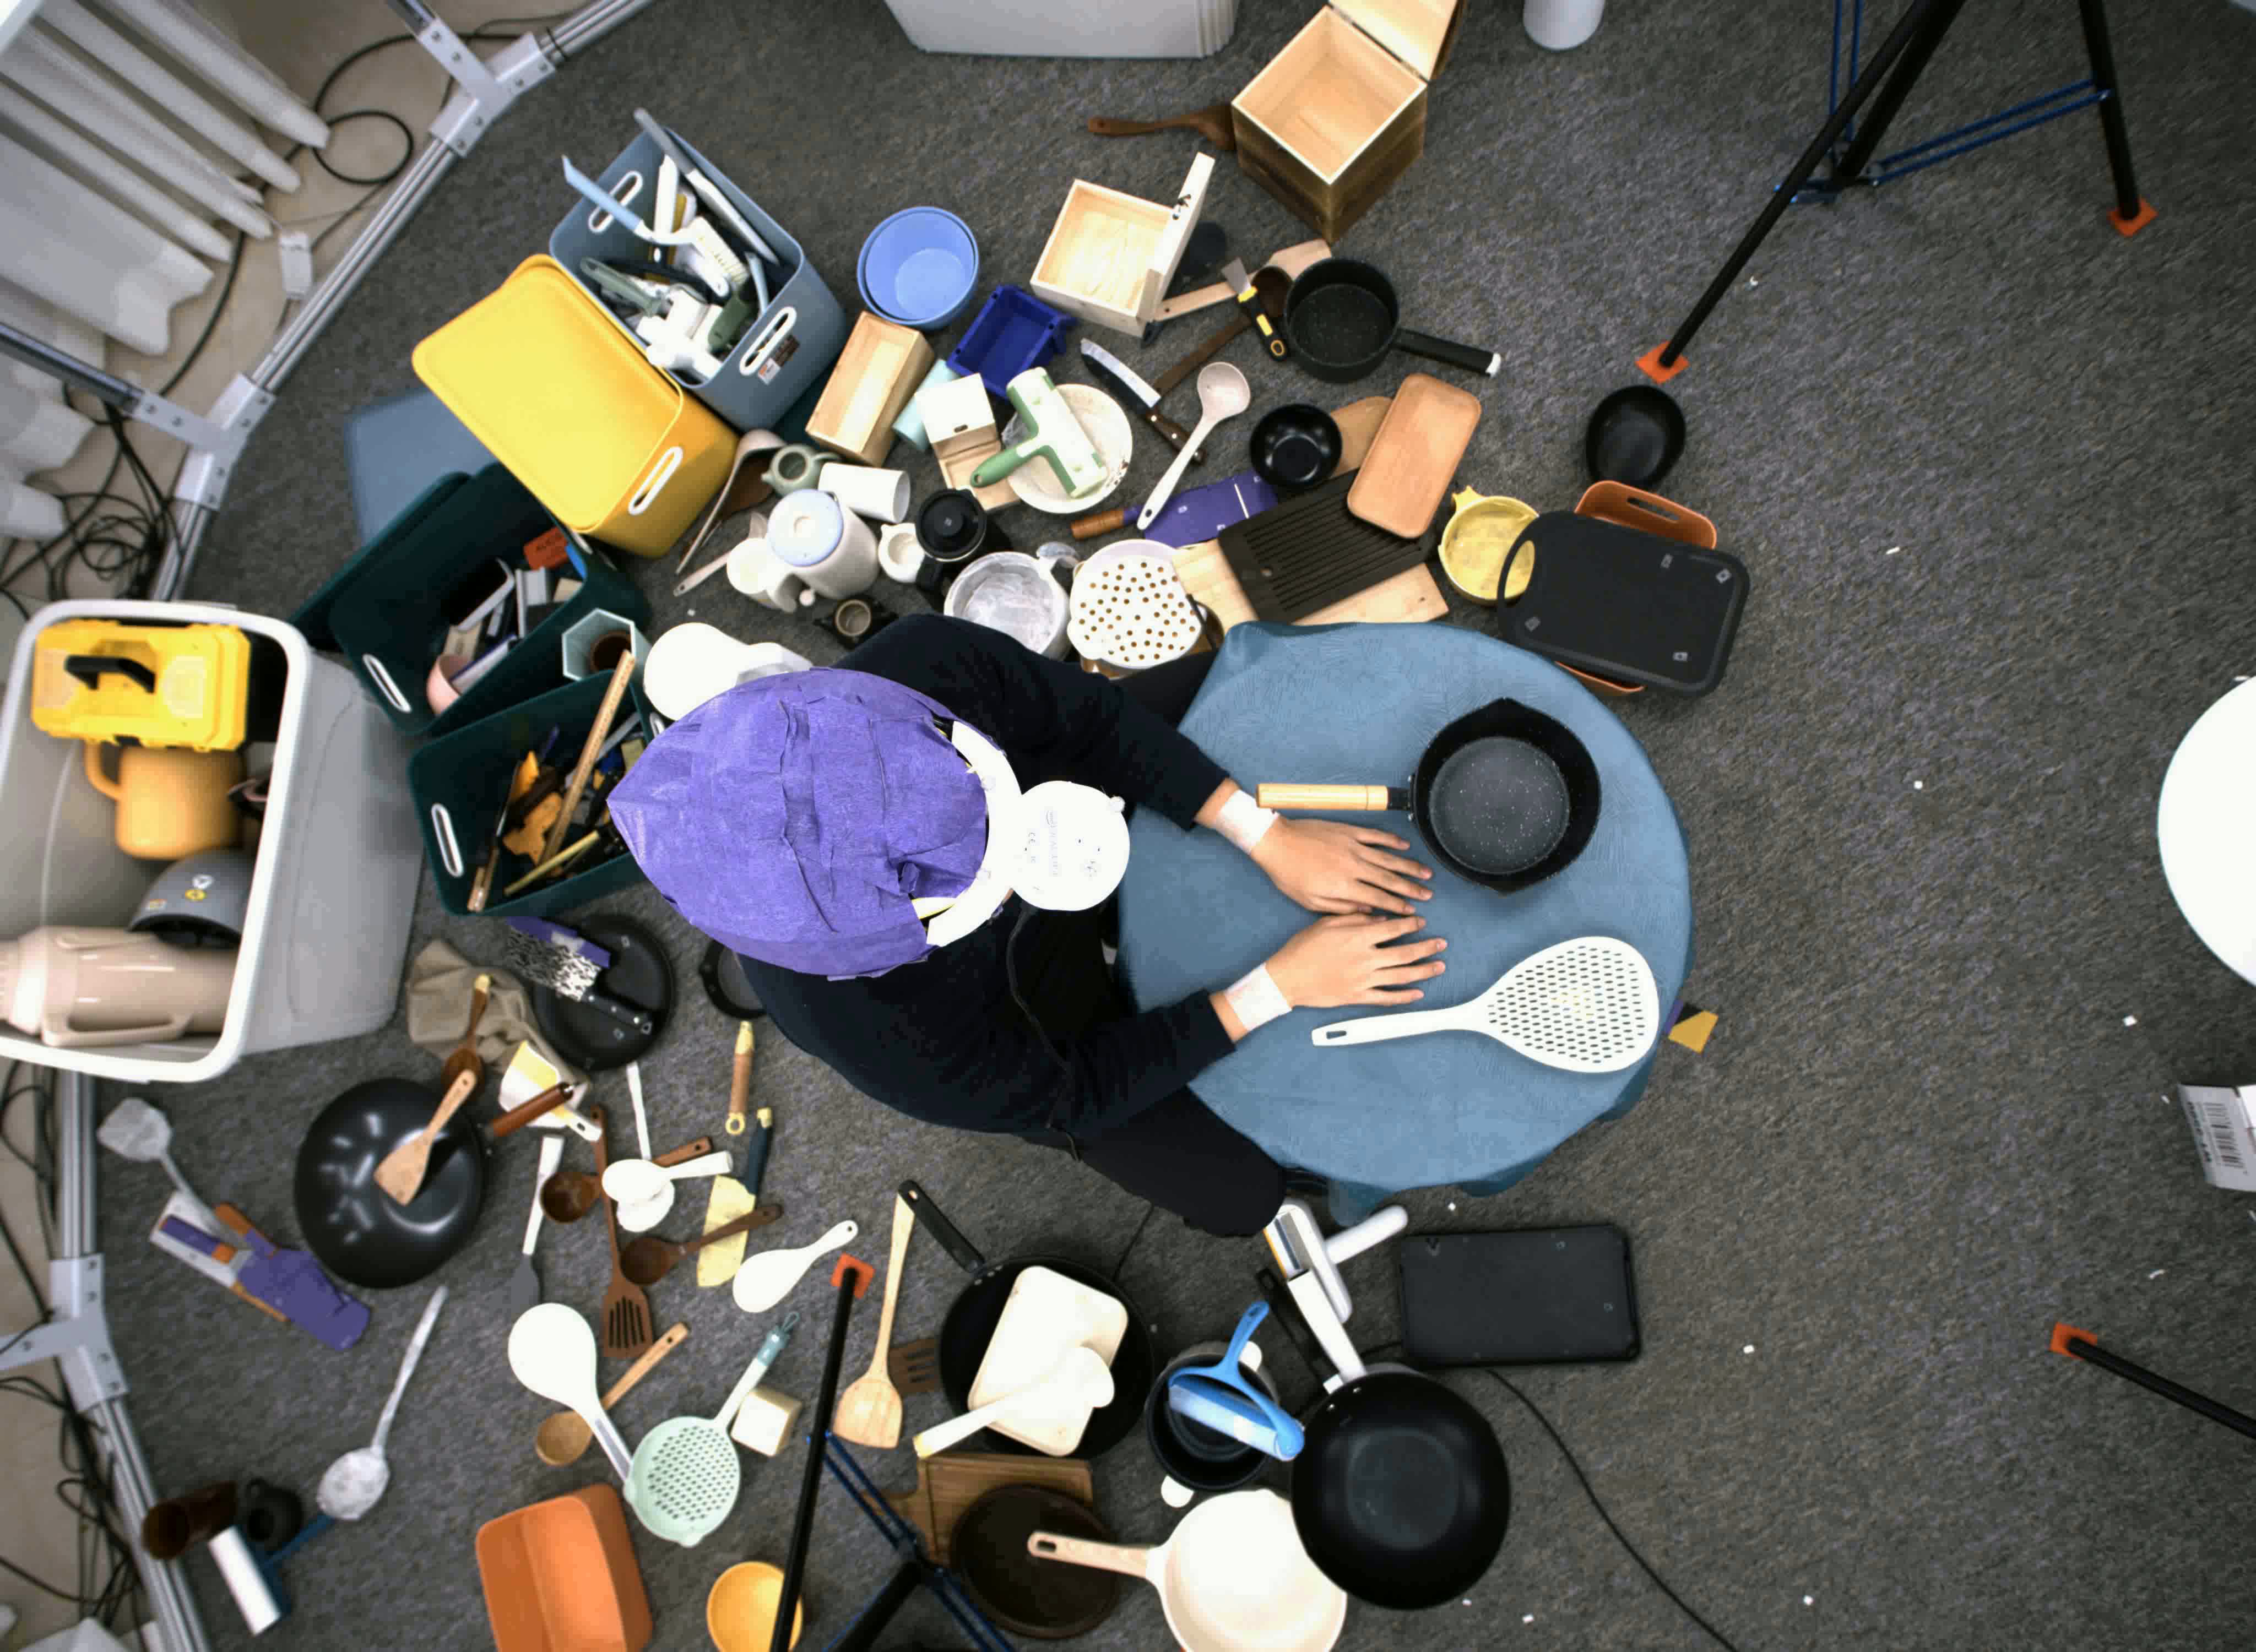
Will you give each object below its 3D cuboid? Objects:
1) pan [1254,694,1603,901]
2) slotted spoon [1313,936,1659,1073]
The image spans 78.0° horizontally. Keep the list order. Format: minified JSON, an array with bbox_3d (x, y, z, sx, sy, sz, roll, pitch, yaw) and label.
[{"bbox_3d":[0.302,-0.027,1.405,0.344,0.108,0.207,-1,87,9],"label":"pan"},{"bbox_3d":[0.361,0.195,1.414,0.349,0.050,0.136,-9,86,8],"label":"slotted spoon"}]
